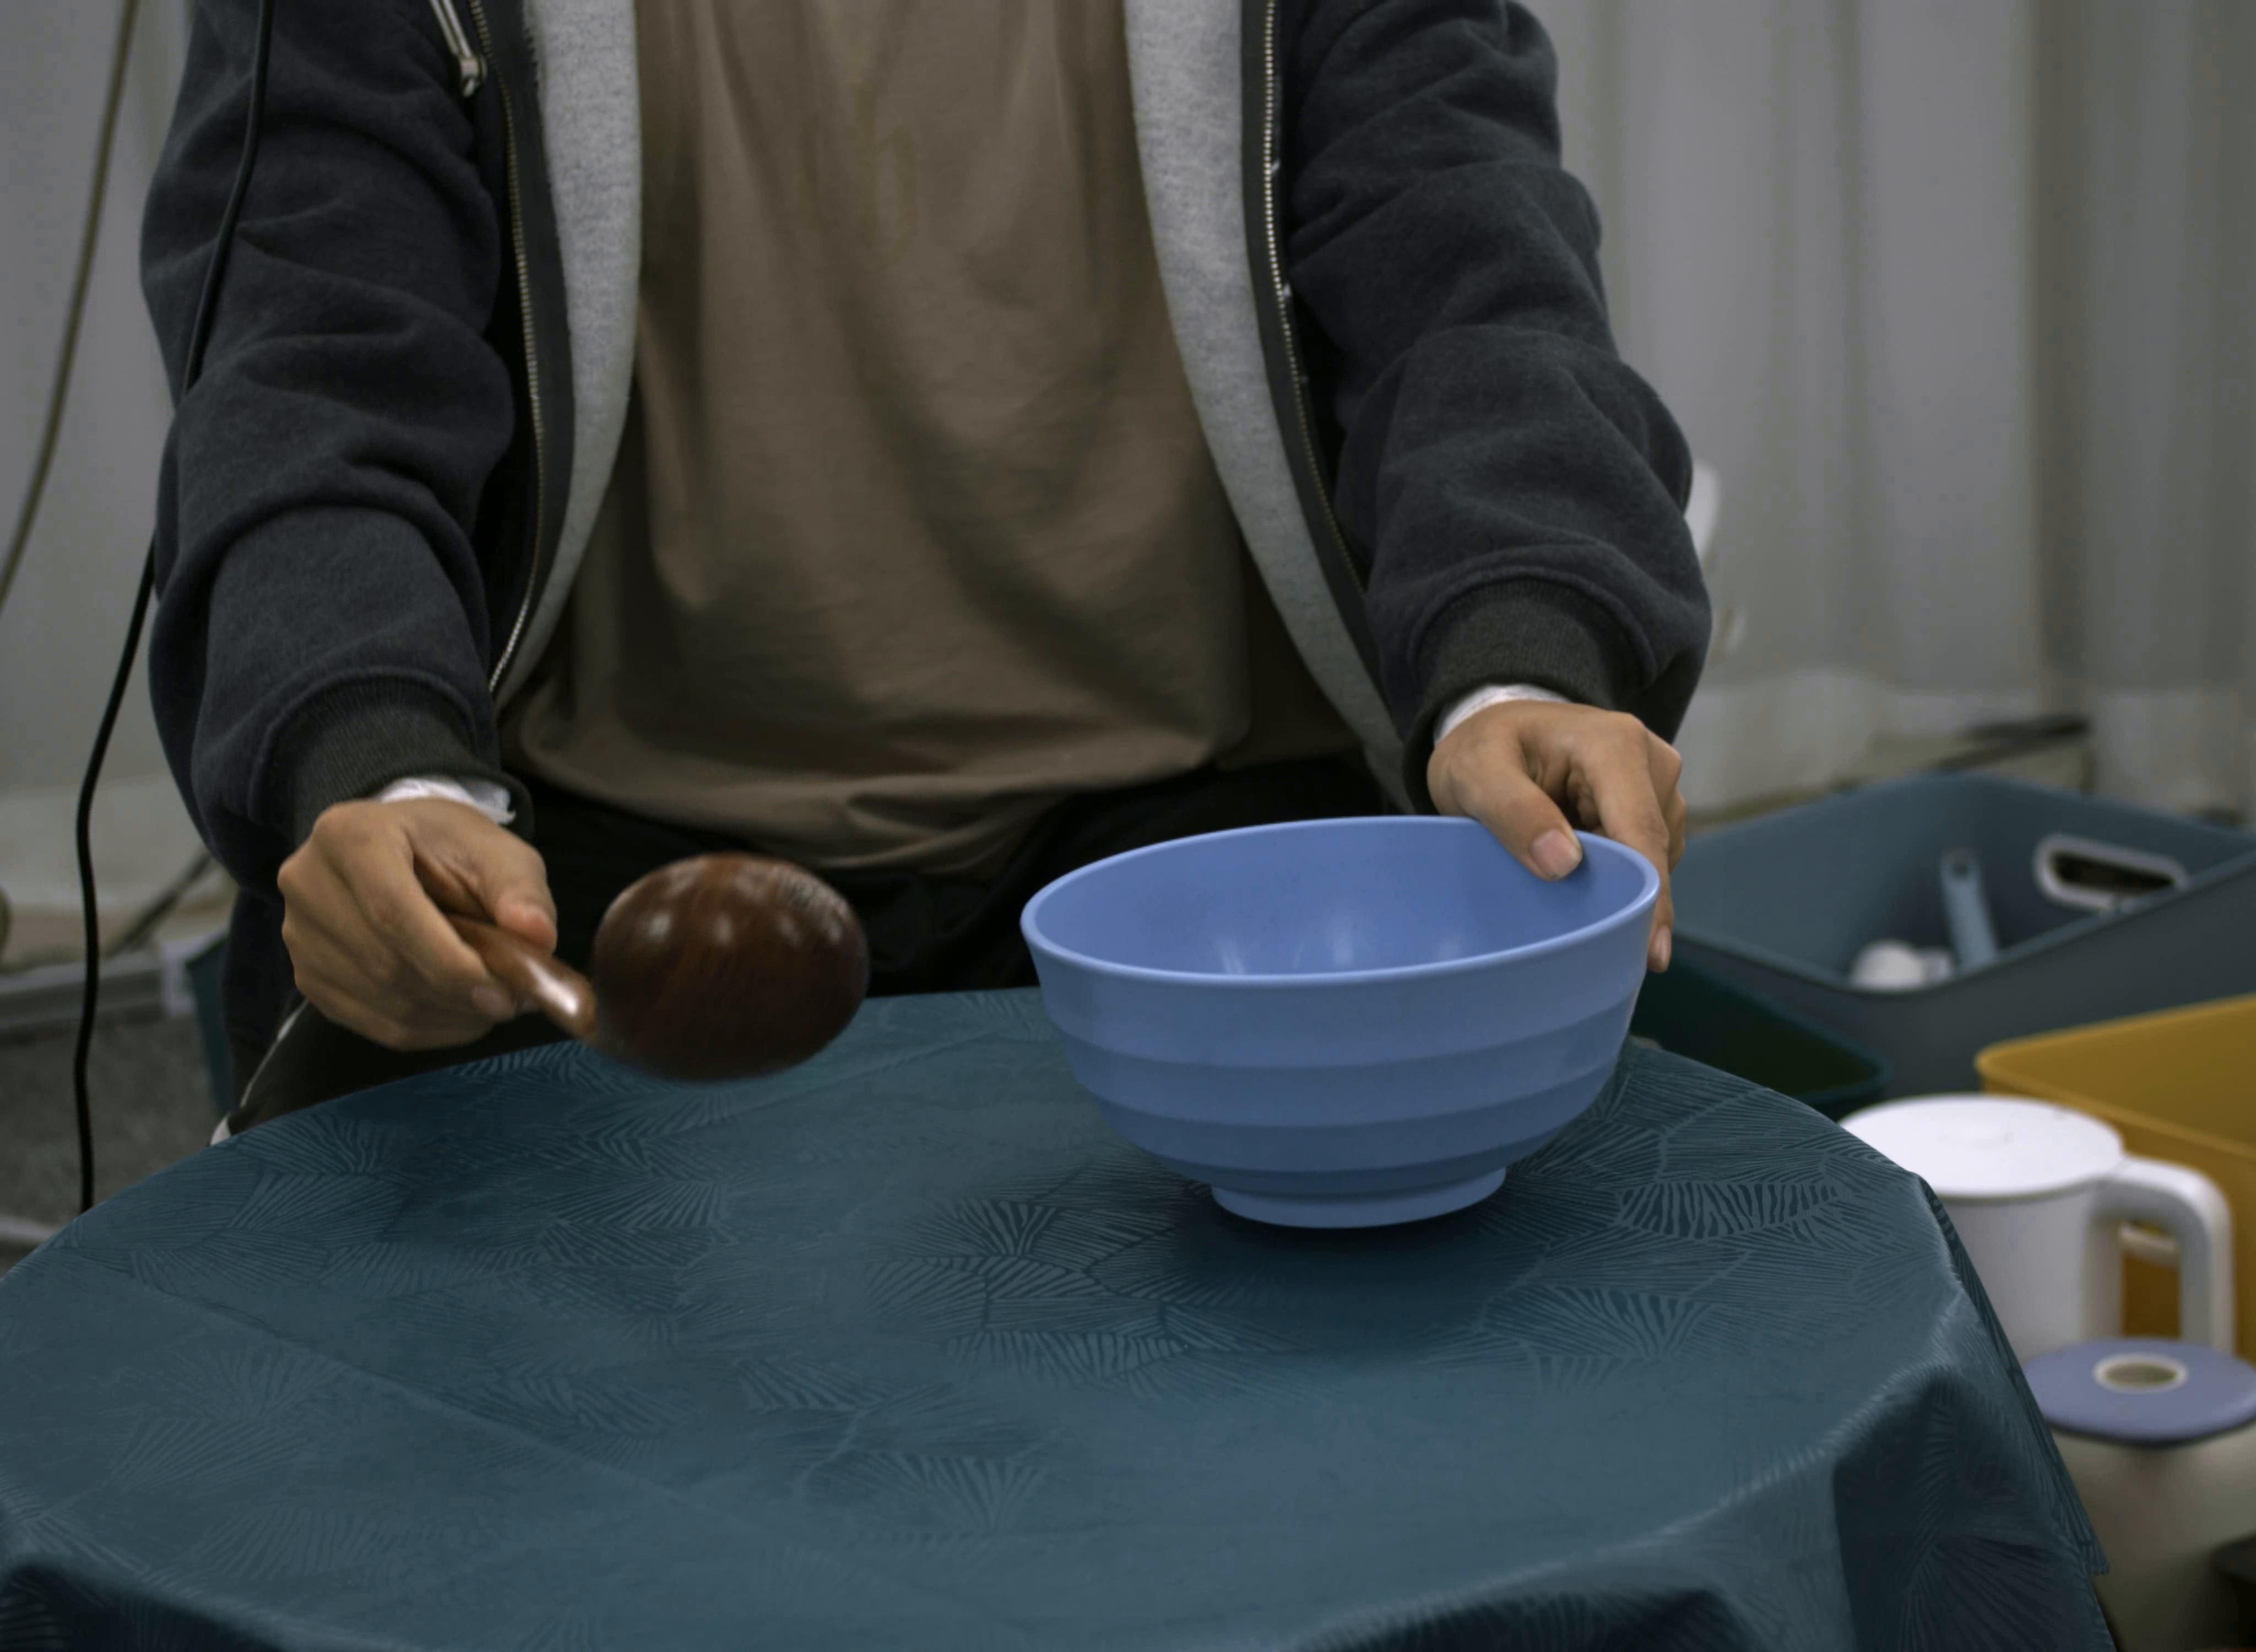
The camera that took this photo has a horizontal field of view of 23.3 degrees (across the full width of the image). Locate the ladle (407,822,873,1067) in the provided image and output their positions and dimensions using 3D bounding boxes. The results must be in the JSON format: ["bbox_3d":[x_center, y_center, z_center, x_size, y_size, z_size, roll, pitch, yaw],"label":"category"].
[{"bbox_3d":[-0.158,0.023,1.661,0.081,0.077,0.275,31,-6,-24],"label":"ladle"}]

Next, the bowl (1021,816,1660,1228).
[{"bbox_3d":[0.068,0.065,1.682,0.196,0.095,0.197,-5,13,1],"label":"bowl"}]
